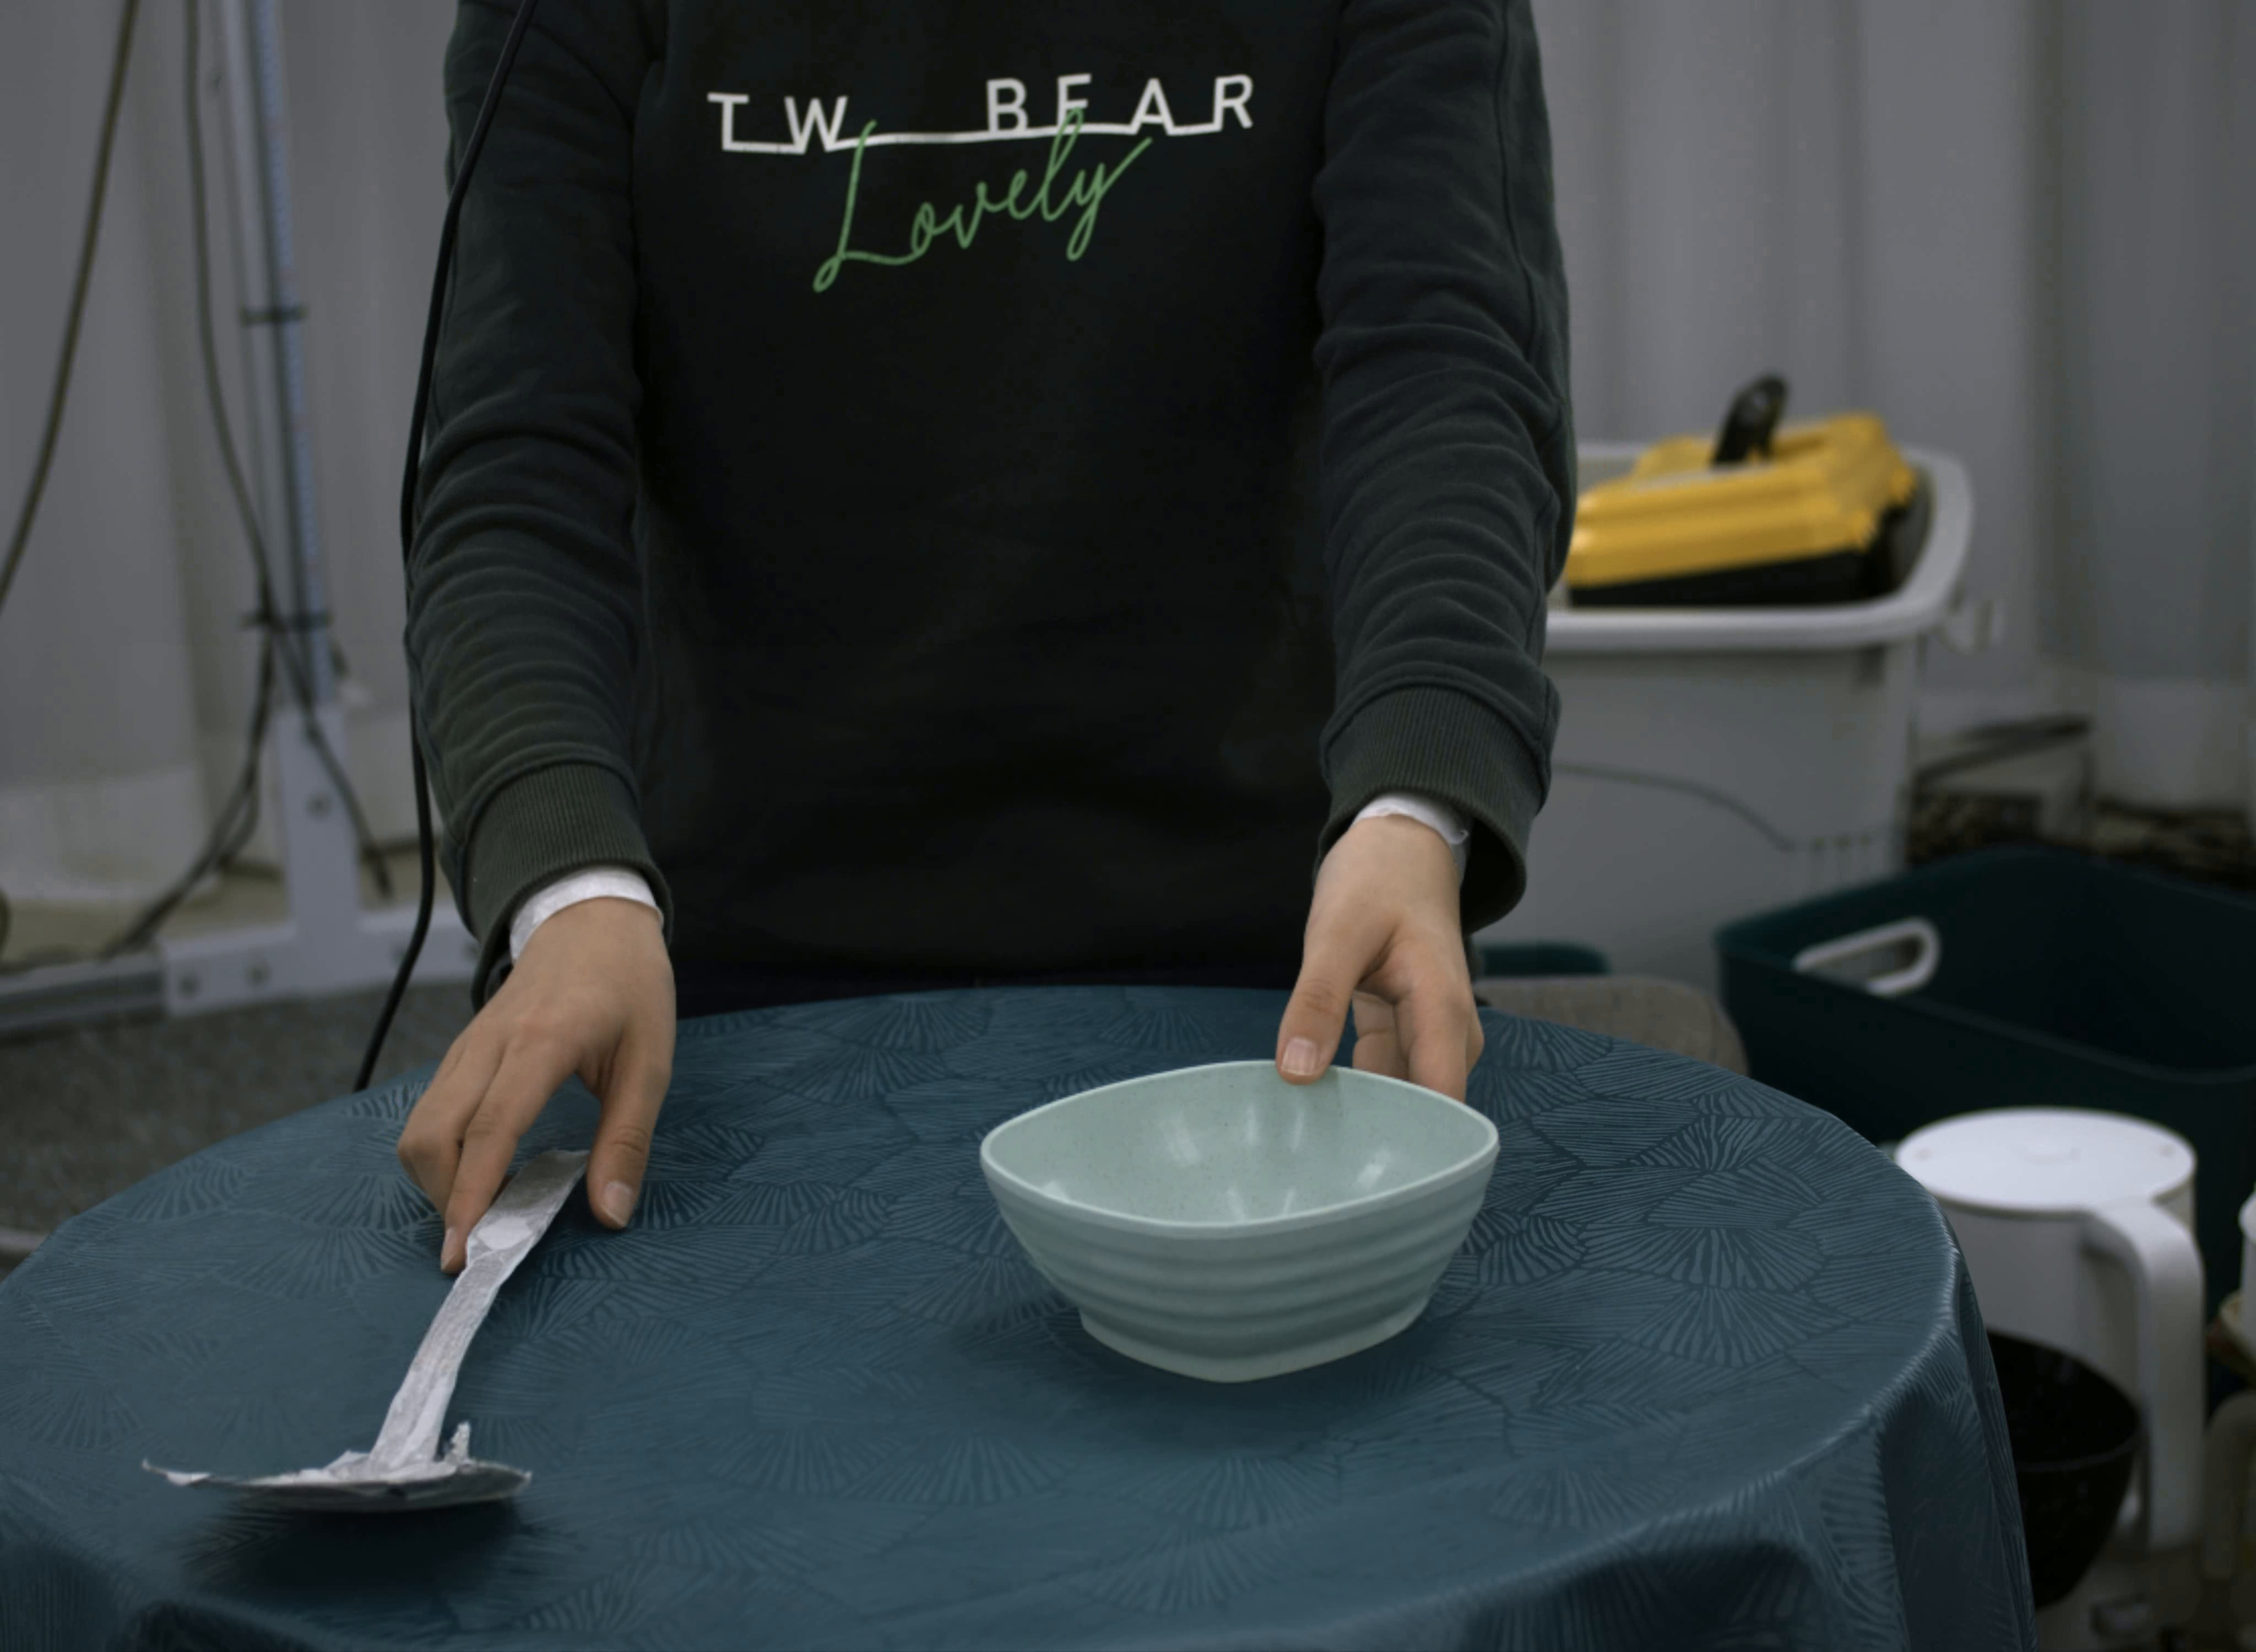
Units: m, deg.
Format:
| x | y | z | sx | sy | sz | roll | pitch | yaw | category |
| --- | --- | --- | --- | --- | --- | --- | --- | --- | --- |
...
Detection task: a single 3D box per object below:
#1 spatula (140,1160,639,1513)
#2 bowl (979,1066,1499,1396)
| x | y | z | sx | sy | sz | roll | pitch | yaw | category |
| --- | --- | --- | --- | --- | --- | --- | --- | --- | --- |
| -0.191 | 0.139 | 1.585 | 0.098 | 0.044 | 0.367 | -3 | 15 | 7 | spatula |
| 0.032 | 0.121 | 1.588 | 0.151 | 0.058 | 0.152 | -1 | 15 | 0 | bowl |
